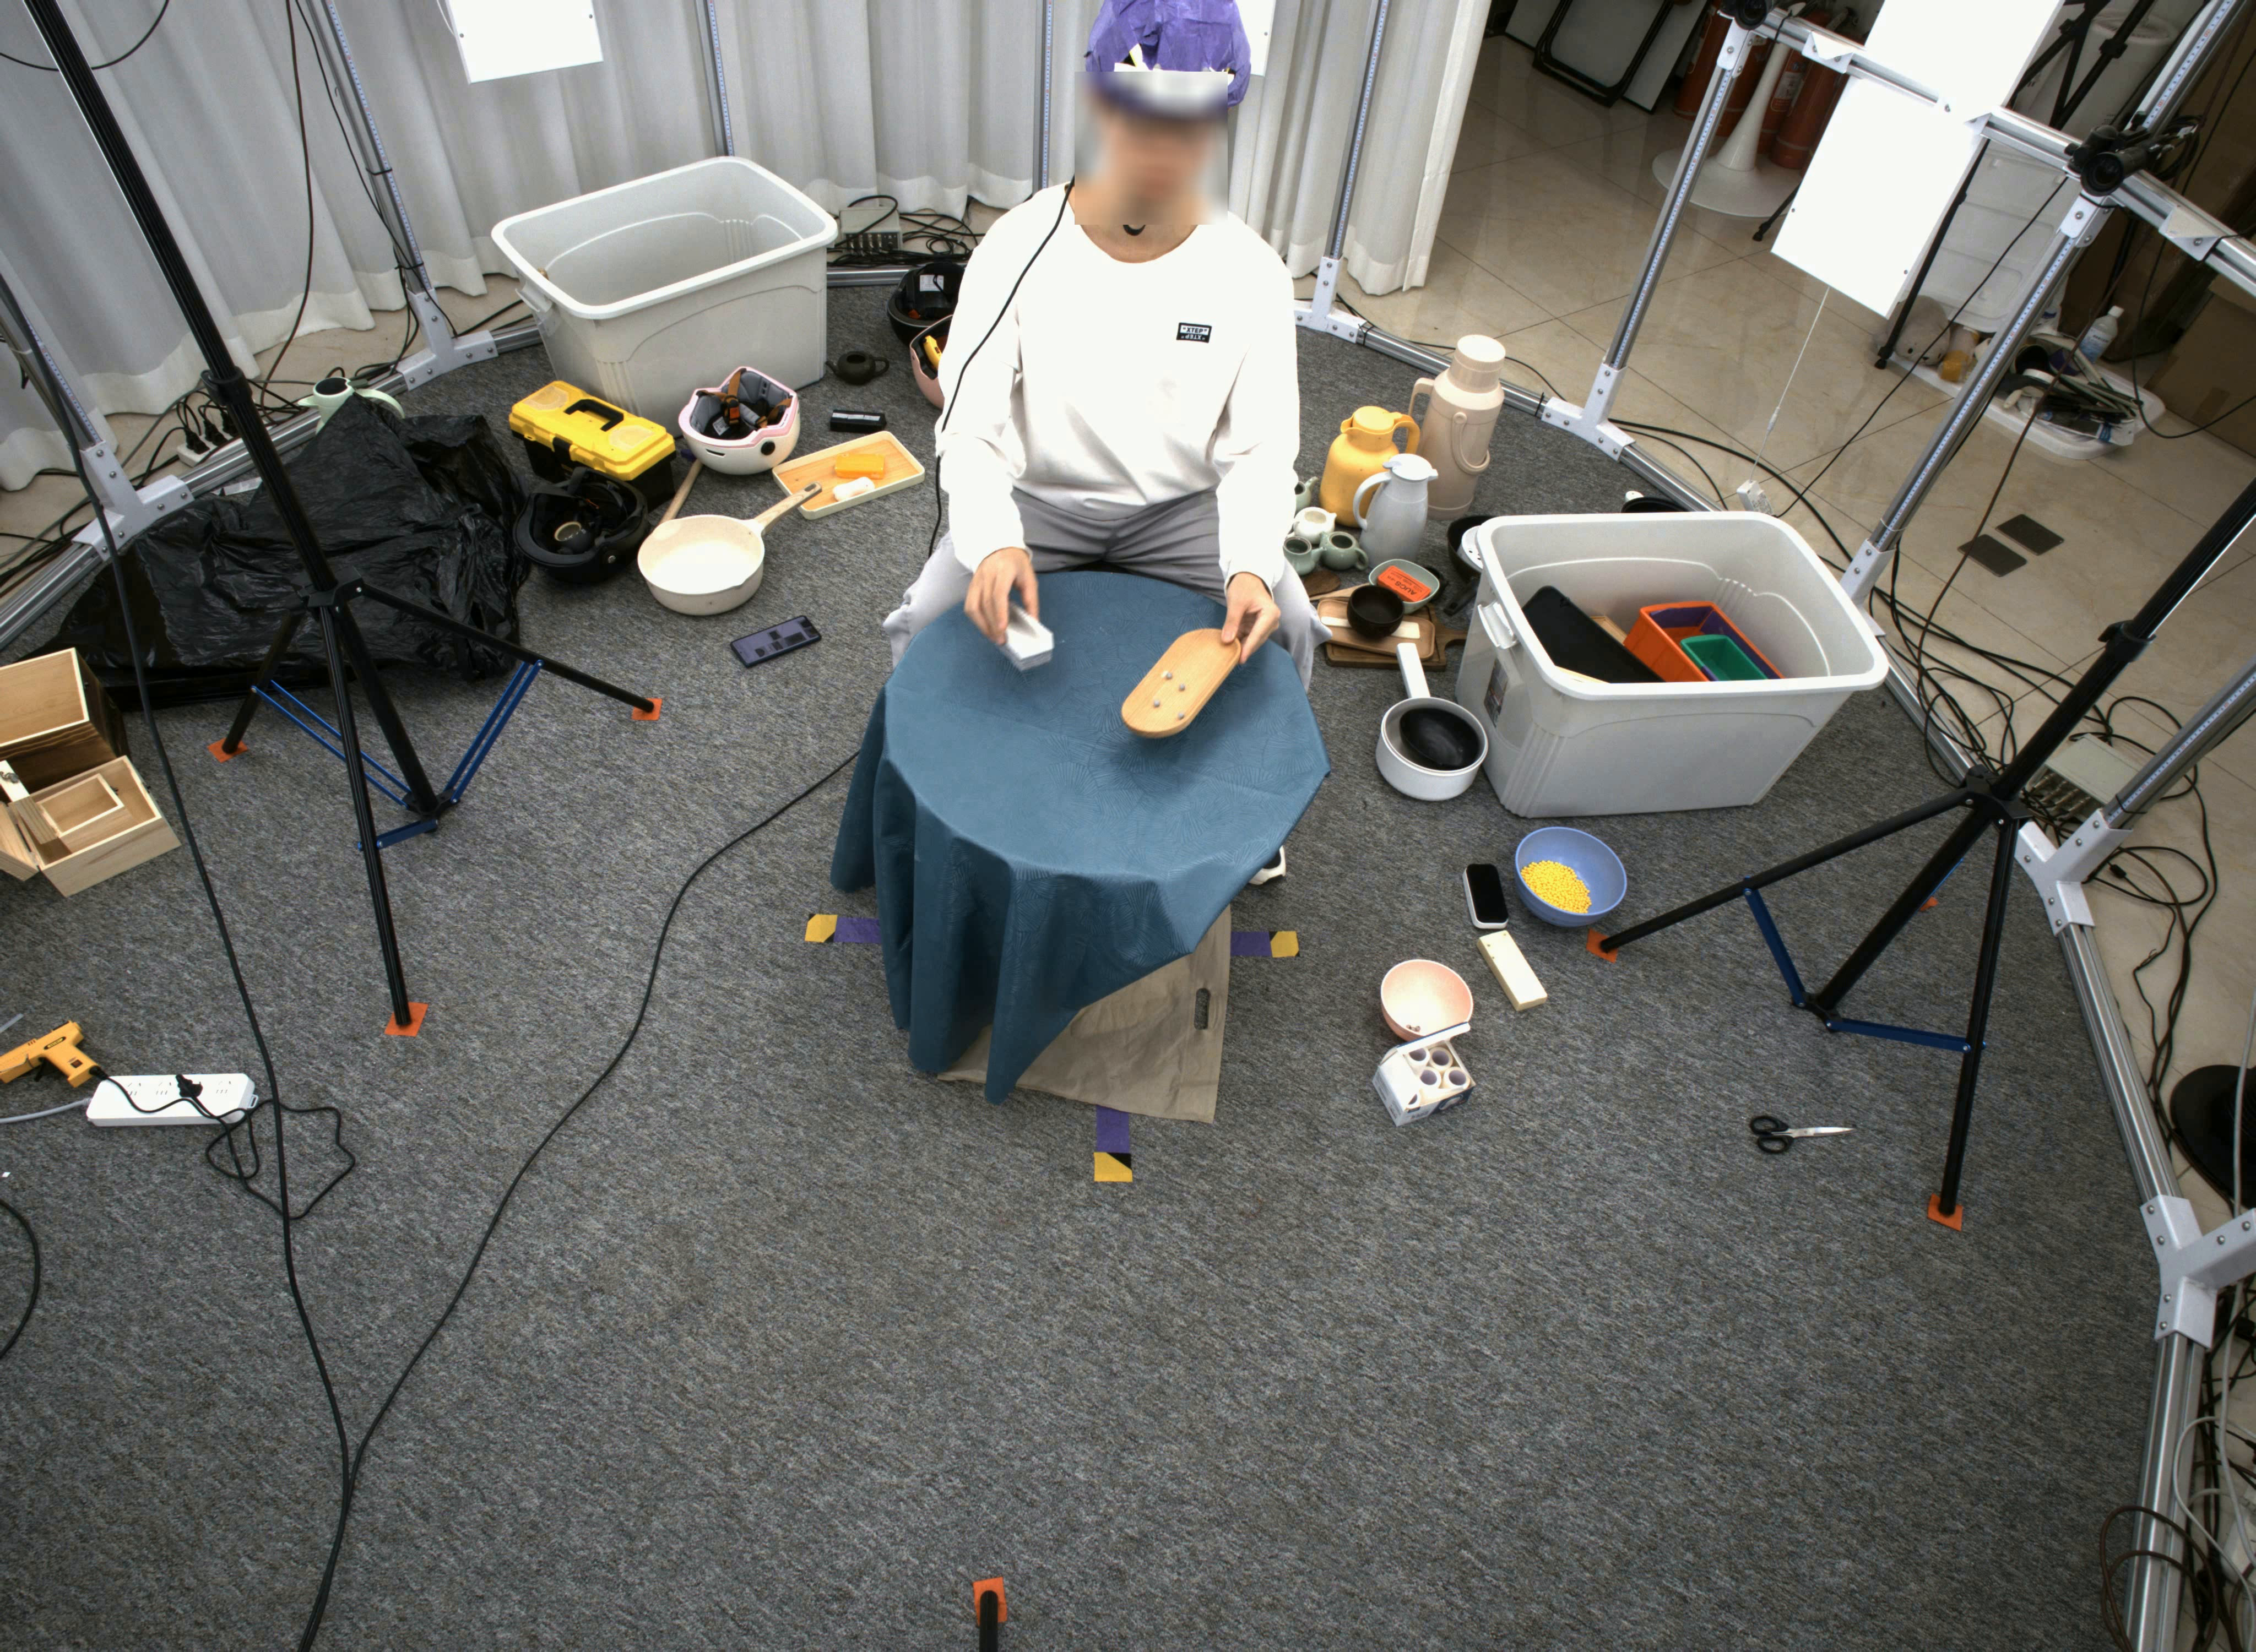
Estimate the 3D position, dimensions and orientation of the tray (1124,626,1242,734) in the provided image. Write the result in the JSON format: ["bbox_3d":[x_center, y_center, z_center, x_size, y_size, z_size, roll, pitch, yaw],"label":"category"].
[{"bbox_3d":[0.077,-0.202,1.756,0.102,0.020,0.235,16,48,25],"label":"tray"}]

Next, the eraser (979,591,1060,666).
[{"bbox_3d":[-0.151,-0.275,1.786,0.050,0.045,0.137,-21,43,-29],"label":"eraser"}]
